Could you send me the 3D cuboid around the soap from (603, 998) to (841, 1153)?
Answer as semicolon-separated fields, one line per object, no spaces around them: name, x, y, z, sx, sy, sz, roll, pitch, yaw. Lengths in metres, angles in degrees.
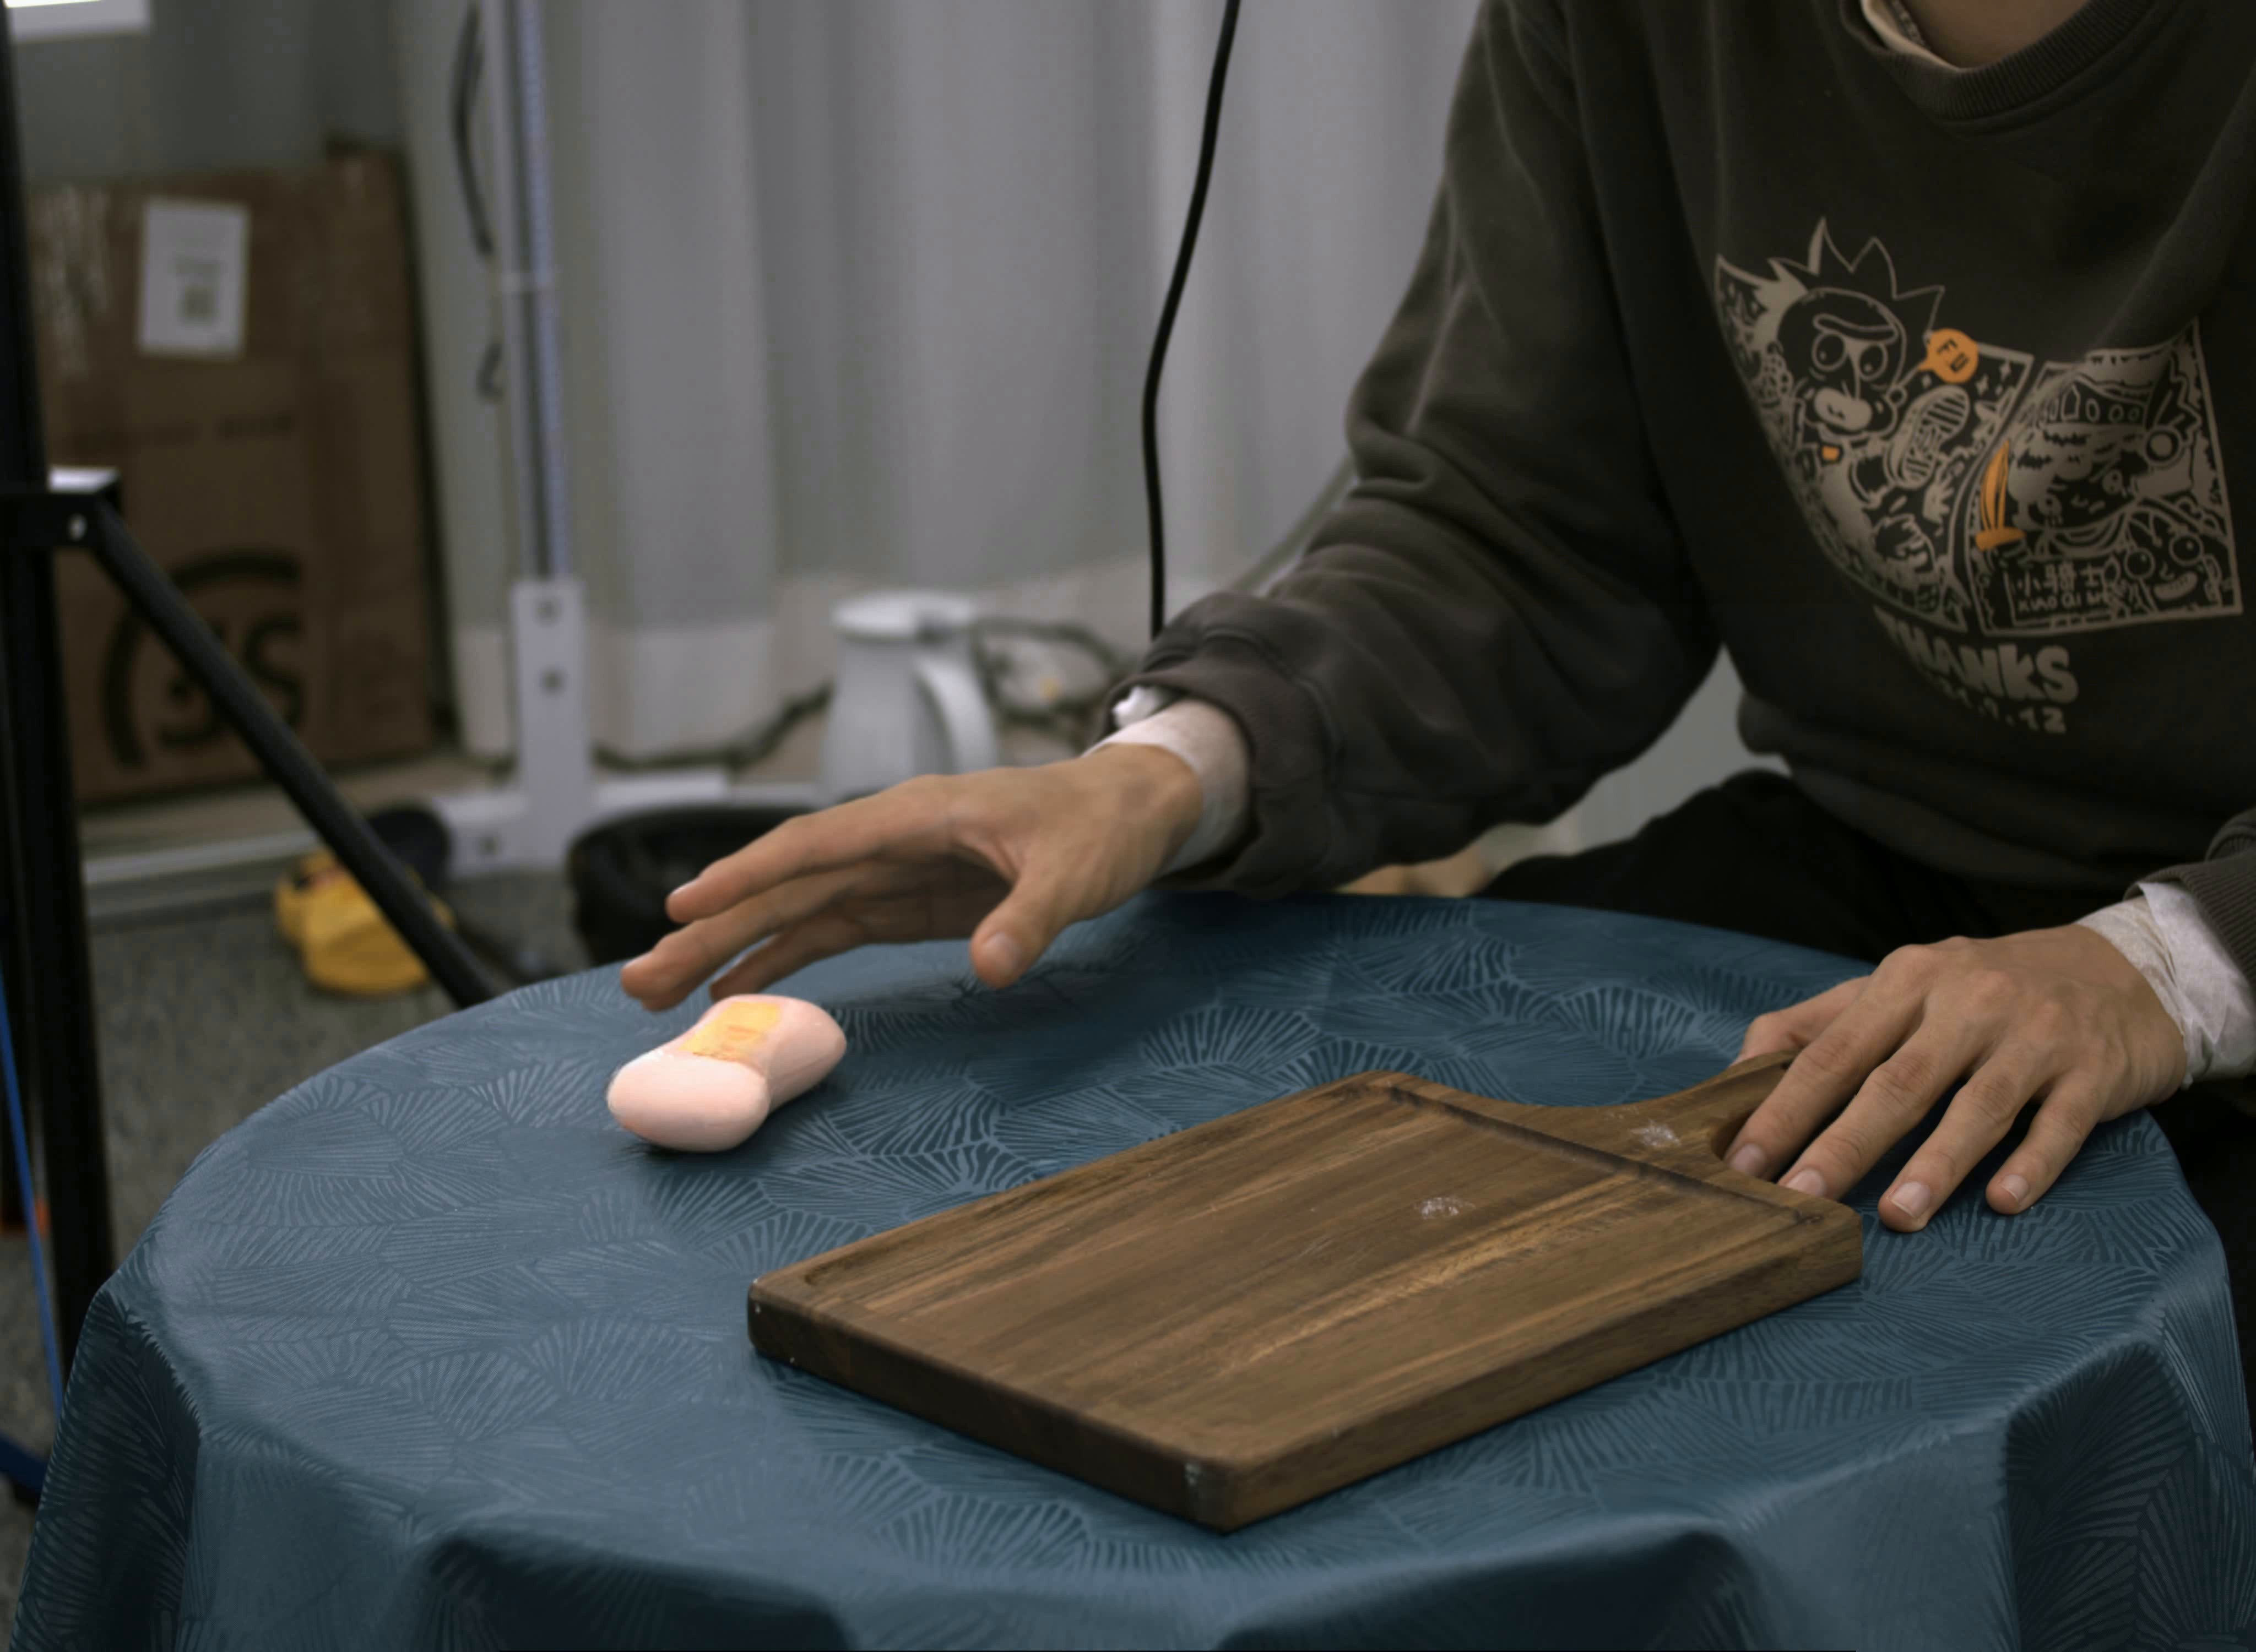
soap;-0.124;0.077;1.644;0.051;0.030;0.093;4;16;21

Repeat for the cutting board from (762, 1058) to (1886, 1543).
cutting board;0.092;0.117;1.477;0.344;0.023;0.206;-15;20;-38
